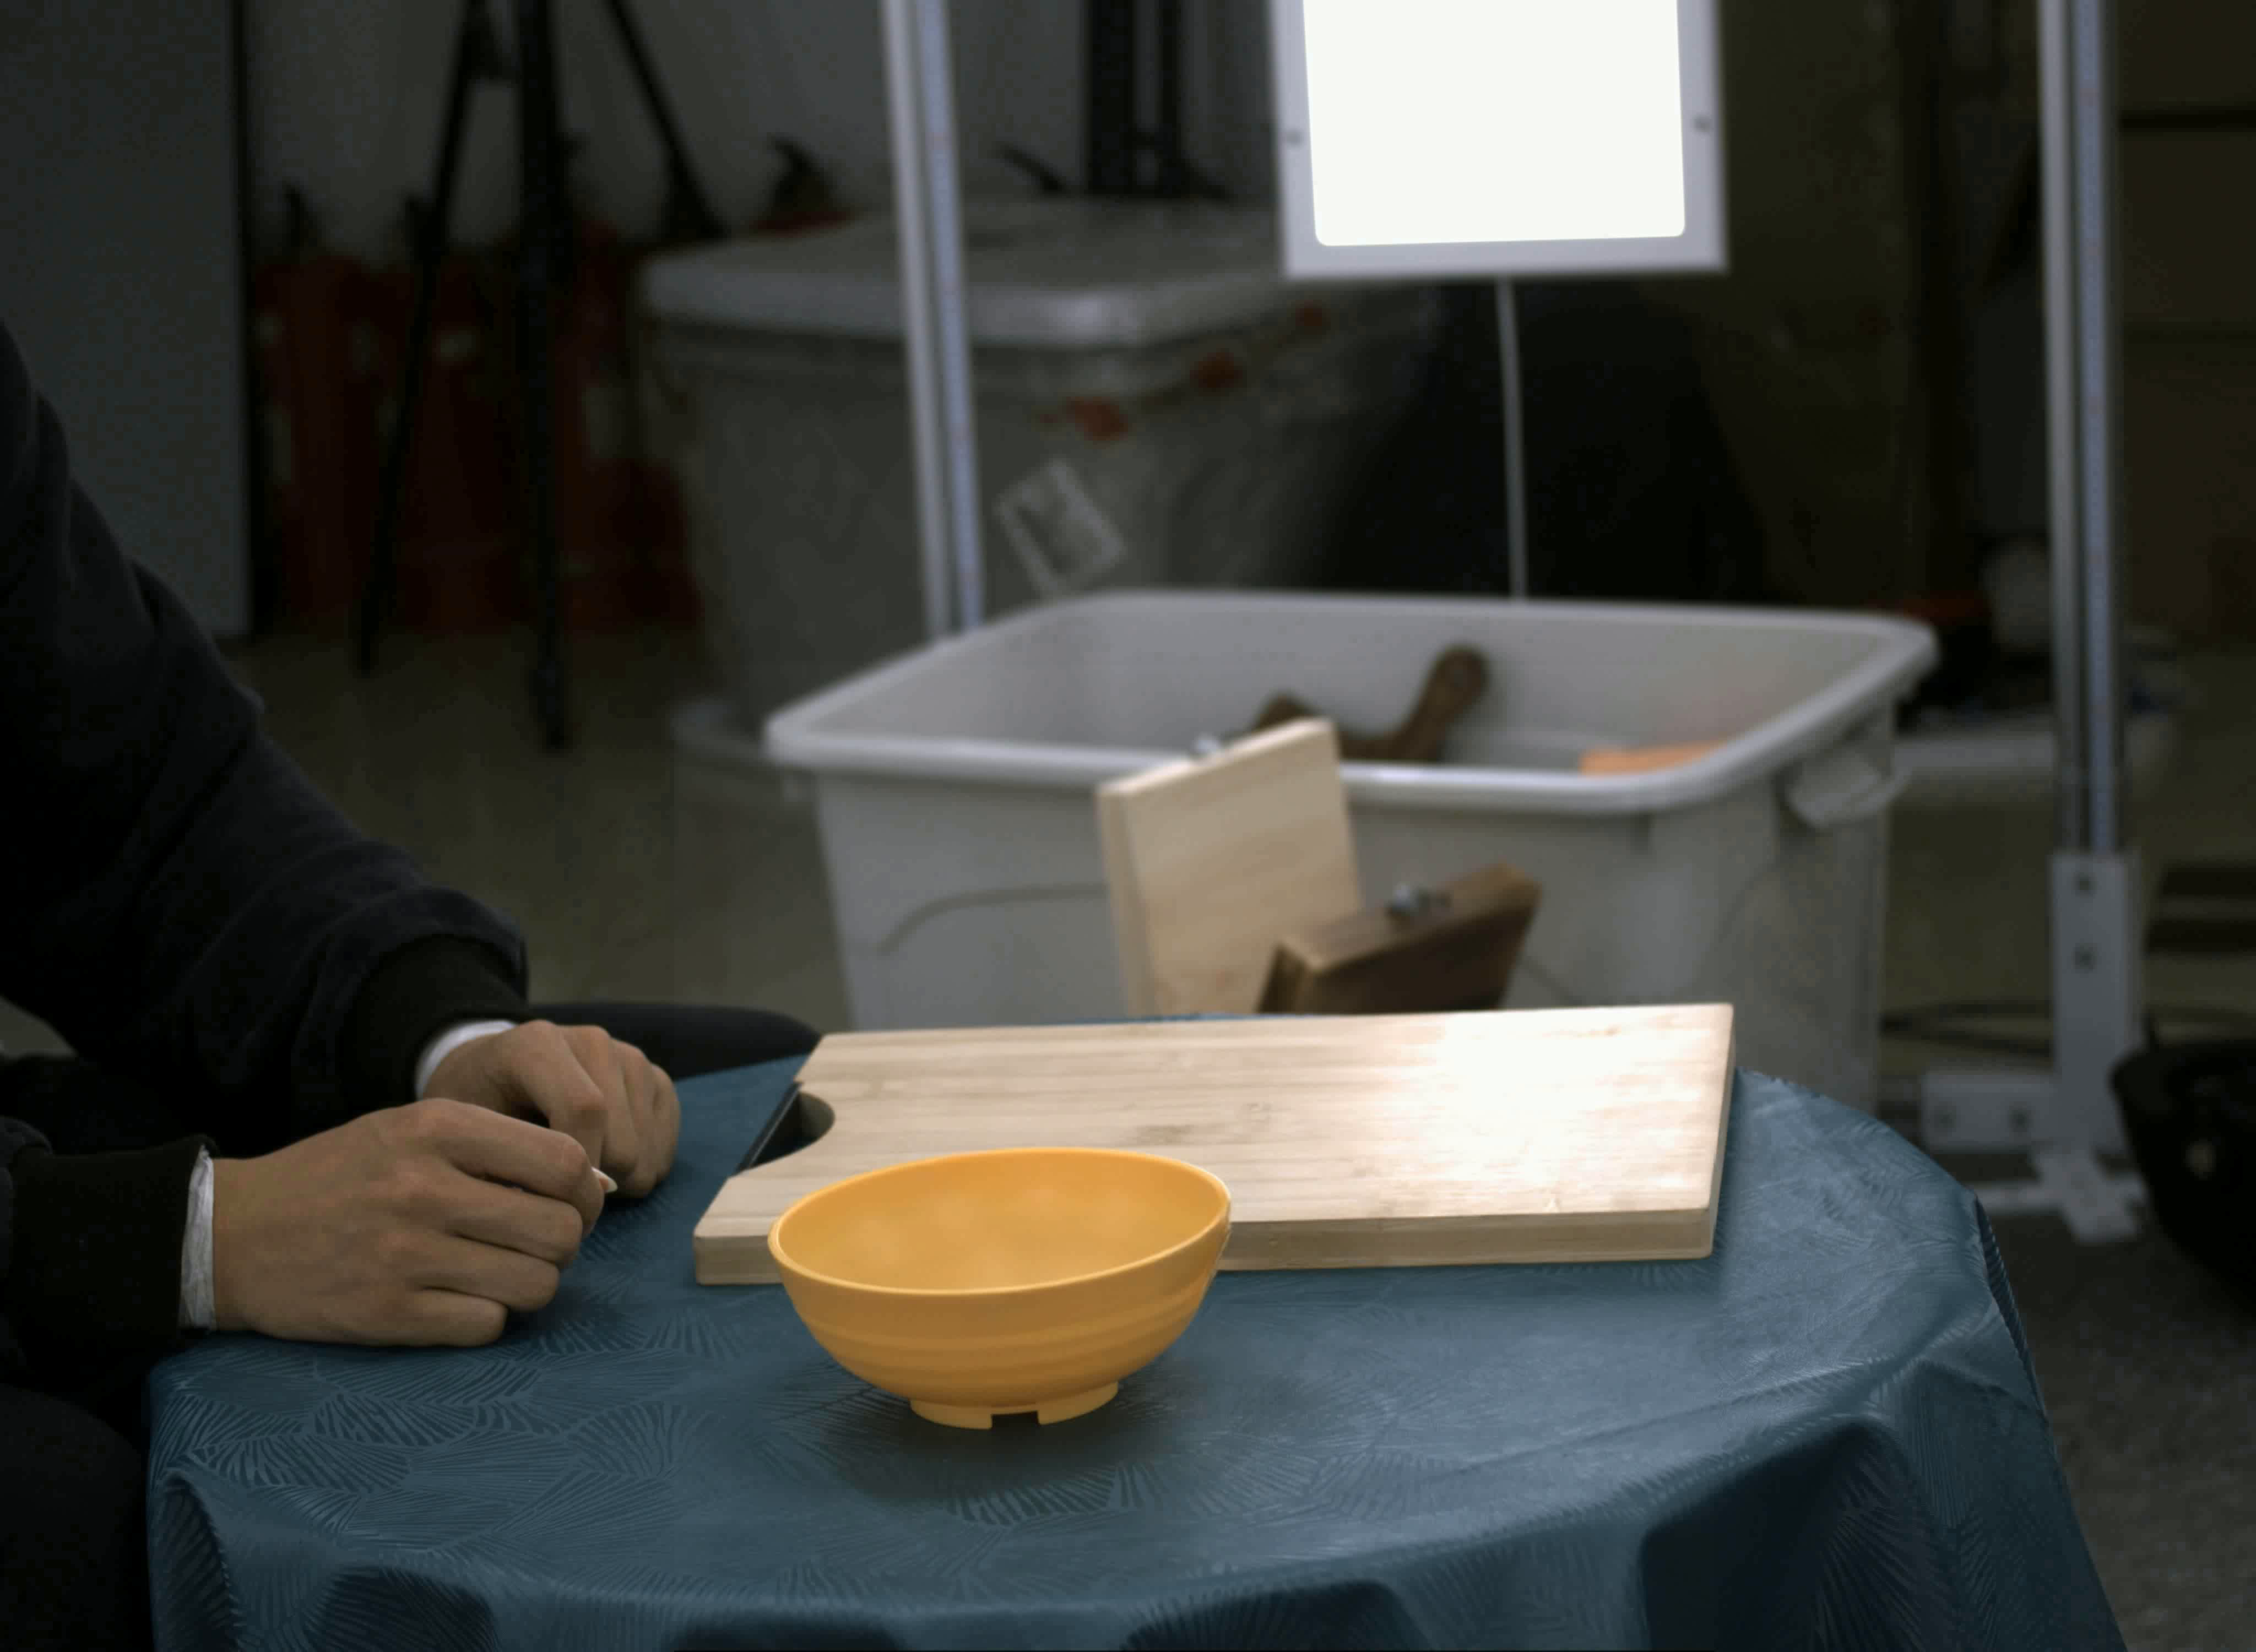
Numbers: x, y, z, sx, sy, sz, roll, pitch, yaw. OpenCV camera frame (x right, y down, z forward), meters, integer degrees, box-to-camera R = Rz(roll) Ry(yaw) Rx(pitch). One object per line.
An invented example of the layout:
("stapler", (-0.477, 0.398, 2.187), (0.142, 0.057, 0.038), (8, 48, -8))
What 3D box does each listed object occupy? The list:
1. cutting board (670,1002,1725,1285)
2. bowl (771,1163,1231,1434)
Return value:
("cutting board", (0.033, 0.110, 1.921), (0.350, 0.023, 0.248), (-3, 14, 10))
("bowl", (-0.036, 0.150, 1.700), (0.145, 0.060, 0.145), (-6, 11, 0))
